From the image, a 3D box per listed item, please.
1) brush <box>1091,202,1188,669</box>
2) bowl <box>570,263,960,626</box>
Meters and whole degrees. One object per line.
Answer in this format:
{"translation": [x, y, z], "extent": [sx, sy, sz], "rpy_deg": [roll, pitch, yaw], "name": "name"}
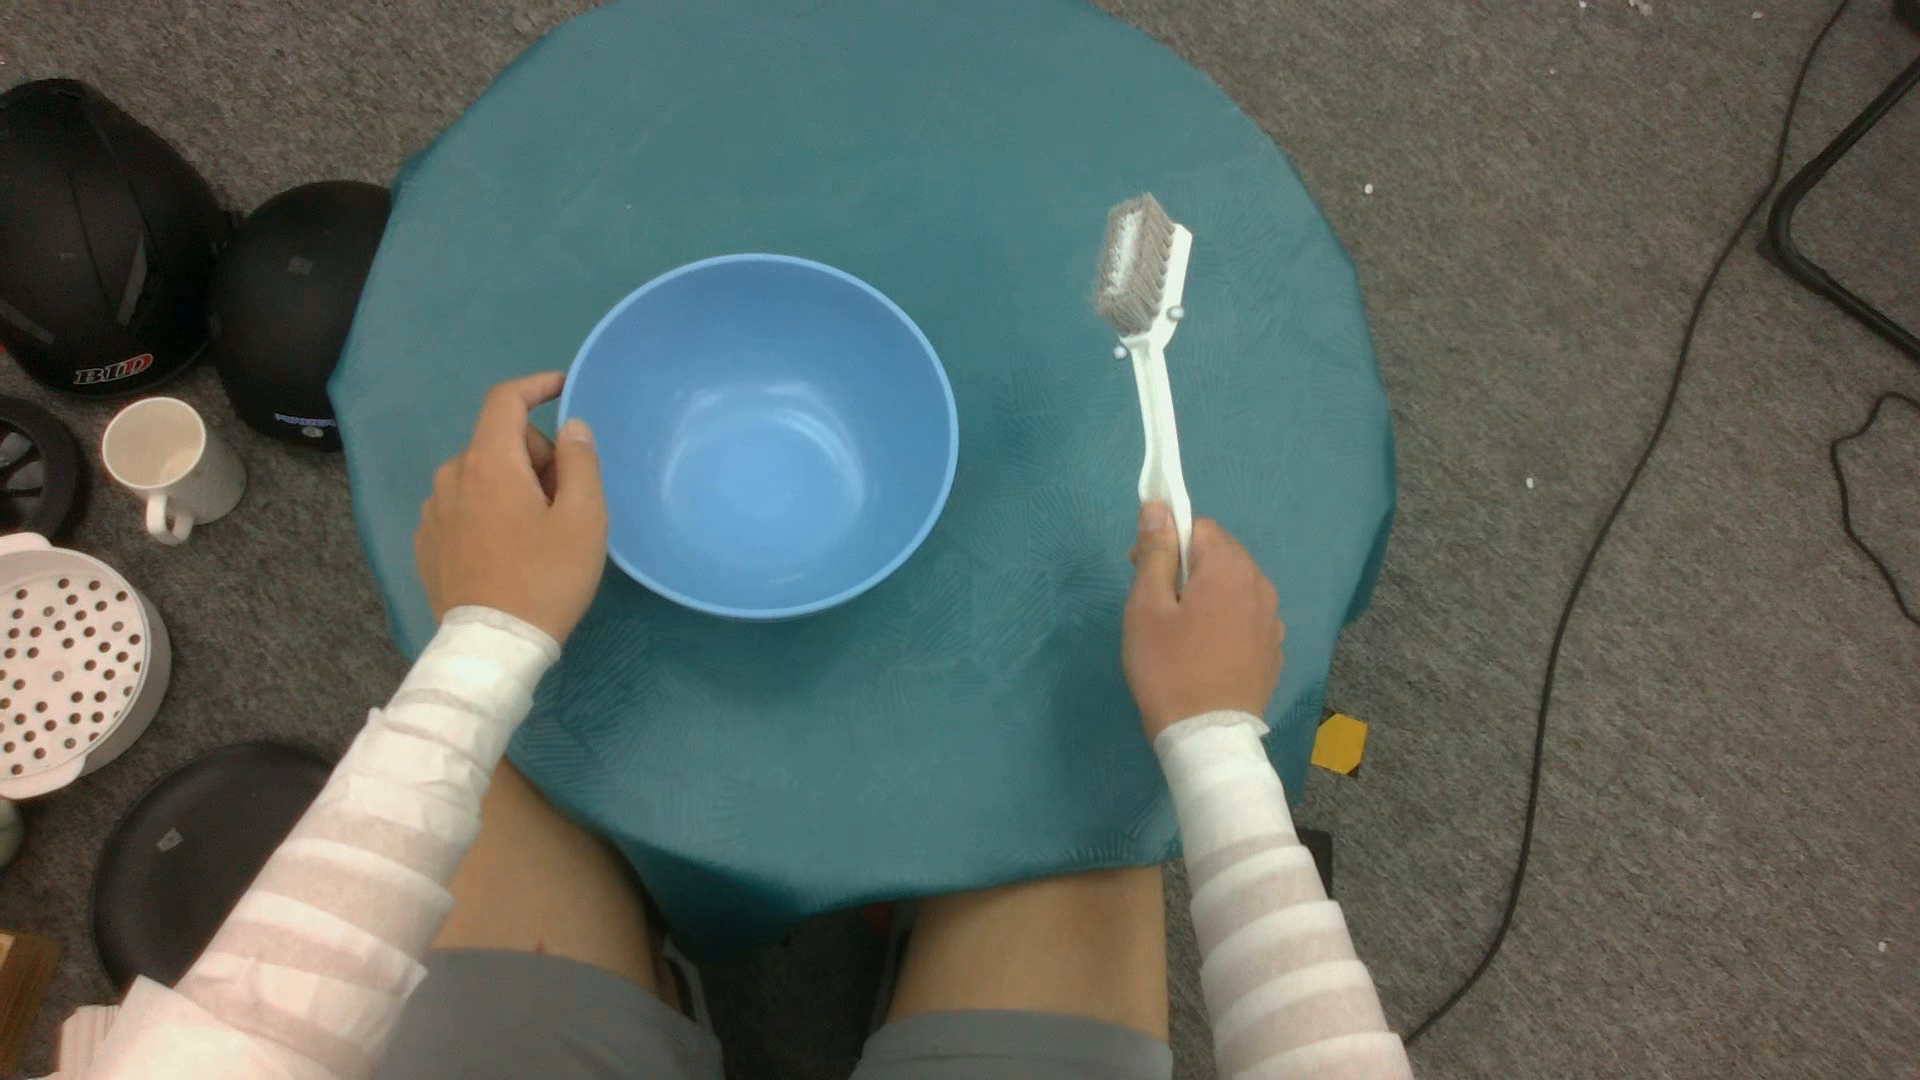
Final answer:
{"translation": [0.095, -0.055, 0.718], "extent": [0.050, 0.034, 0.244], "rpy_deg": [7, 81, -44], "name": "brush"}
{"translation": [-0.103, -0.039, 0.741], "extent": [0.196, 0.095, 0.197], "rpy_deg": [2, 72, -7], "name": "bowl"}
